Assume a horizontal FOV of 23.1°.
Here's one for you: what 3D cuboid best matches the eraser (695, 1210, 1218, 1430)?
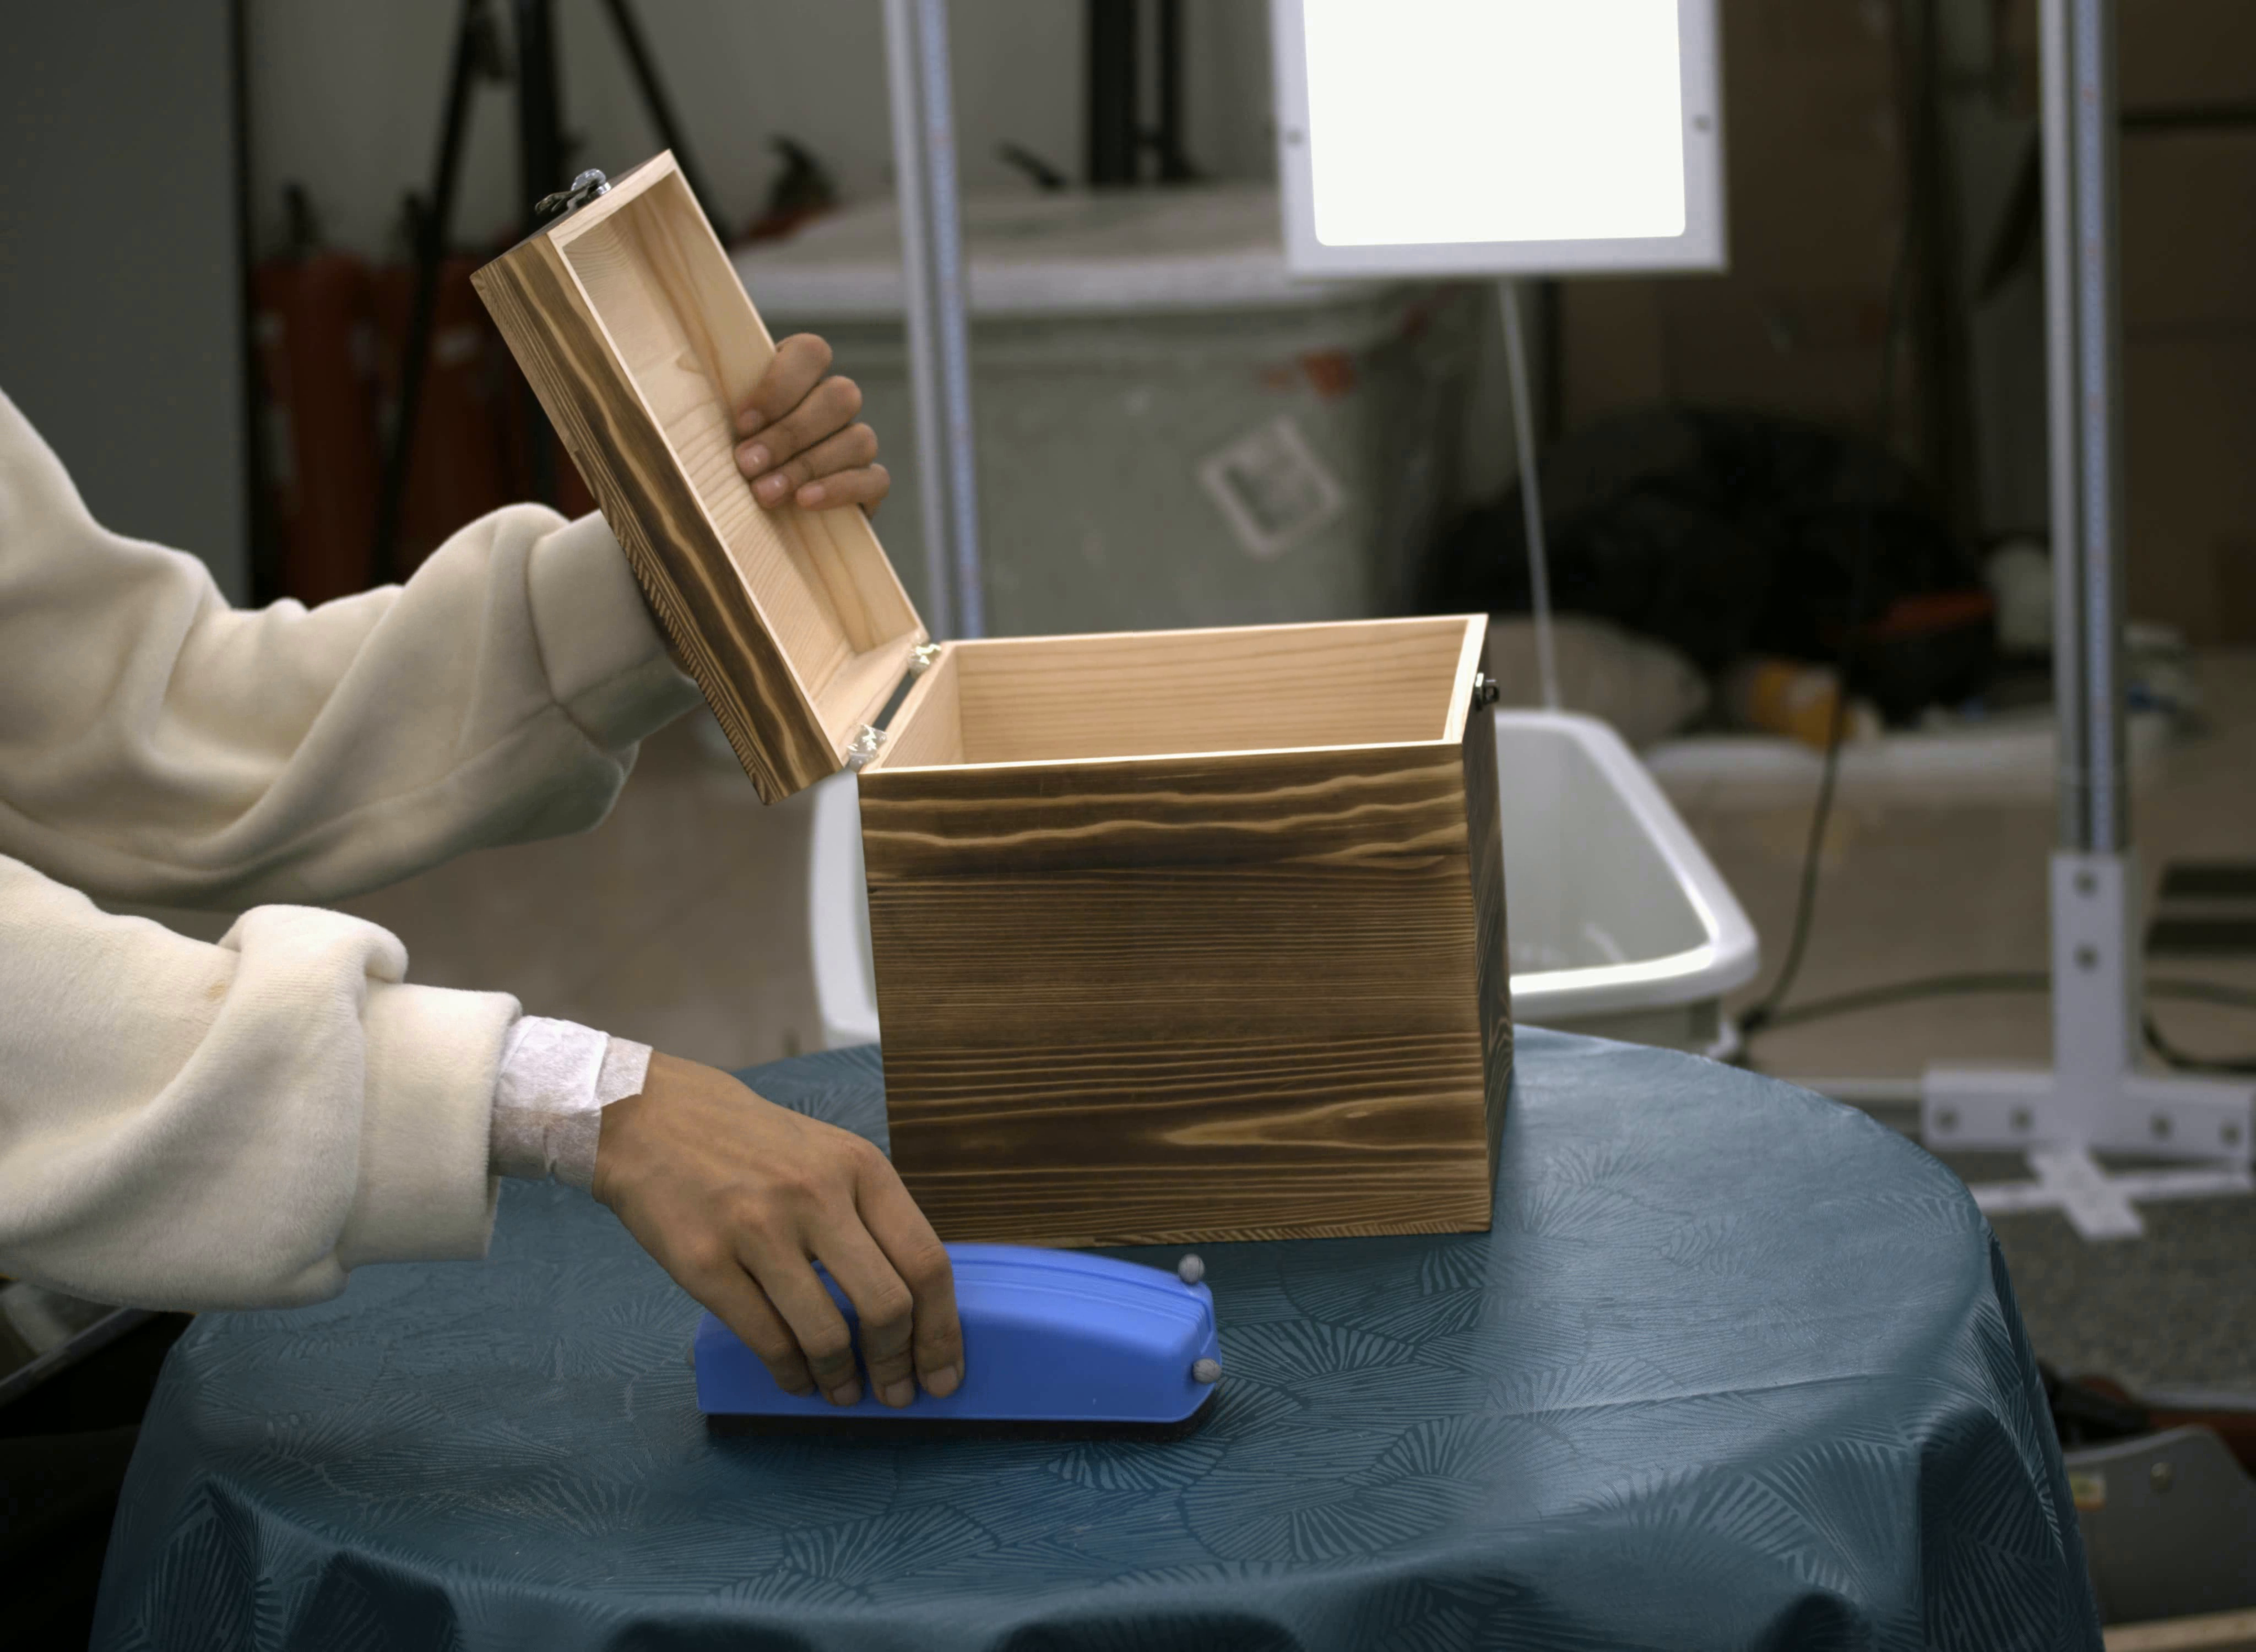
[{"bbox_3d":[-0.054,0.149,1.694,0.164,0.048,0.053,3,27,18],"label":"eraser"}]

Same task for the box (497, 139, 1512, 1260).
[{"bbox_3d":[-0.033,-0.053,1.895,0.324,0.377,0.207,-4,15,9],"label":"box"}]
